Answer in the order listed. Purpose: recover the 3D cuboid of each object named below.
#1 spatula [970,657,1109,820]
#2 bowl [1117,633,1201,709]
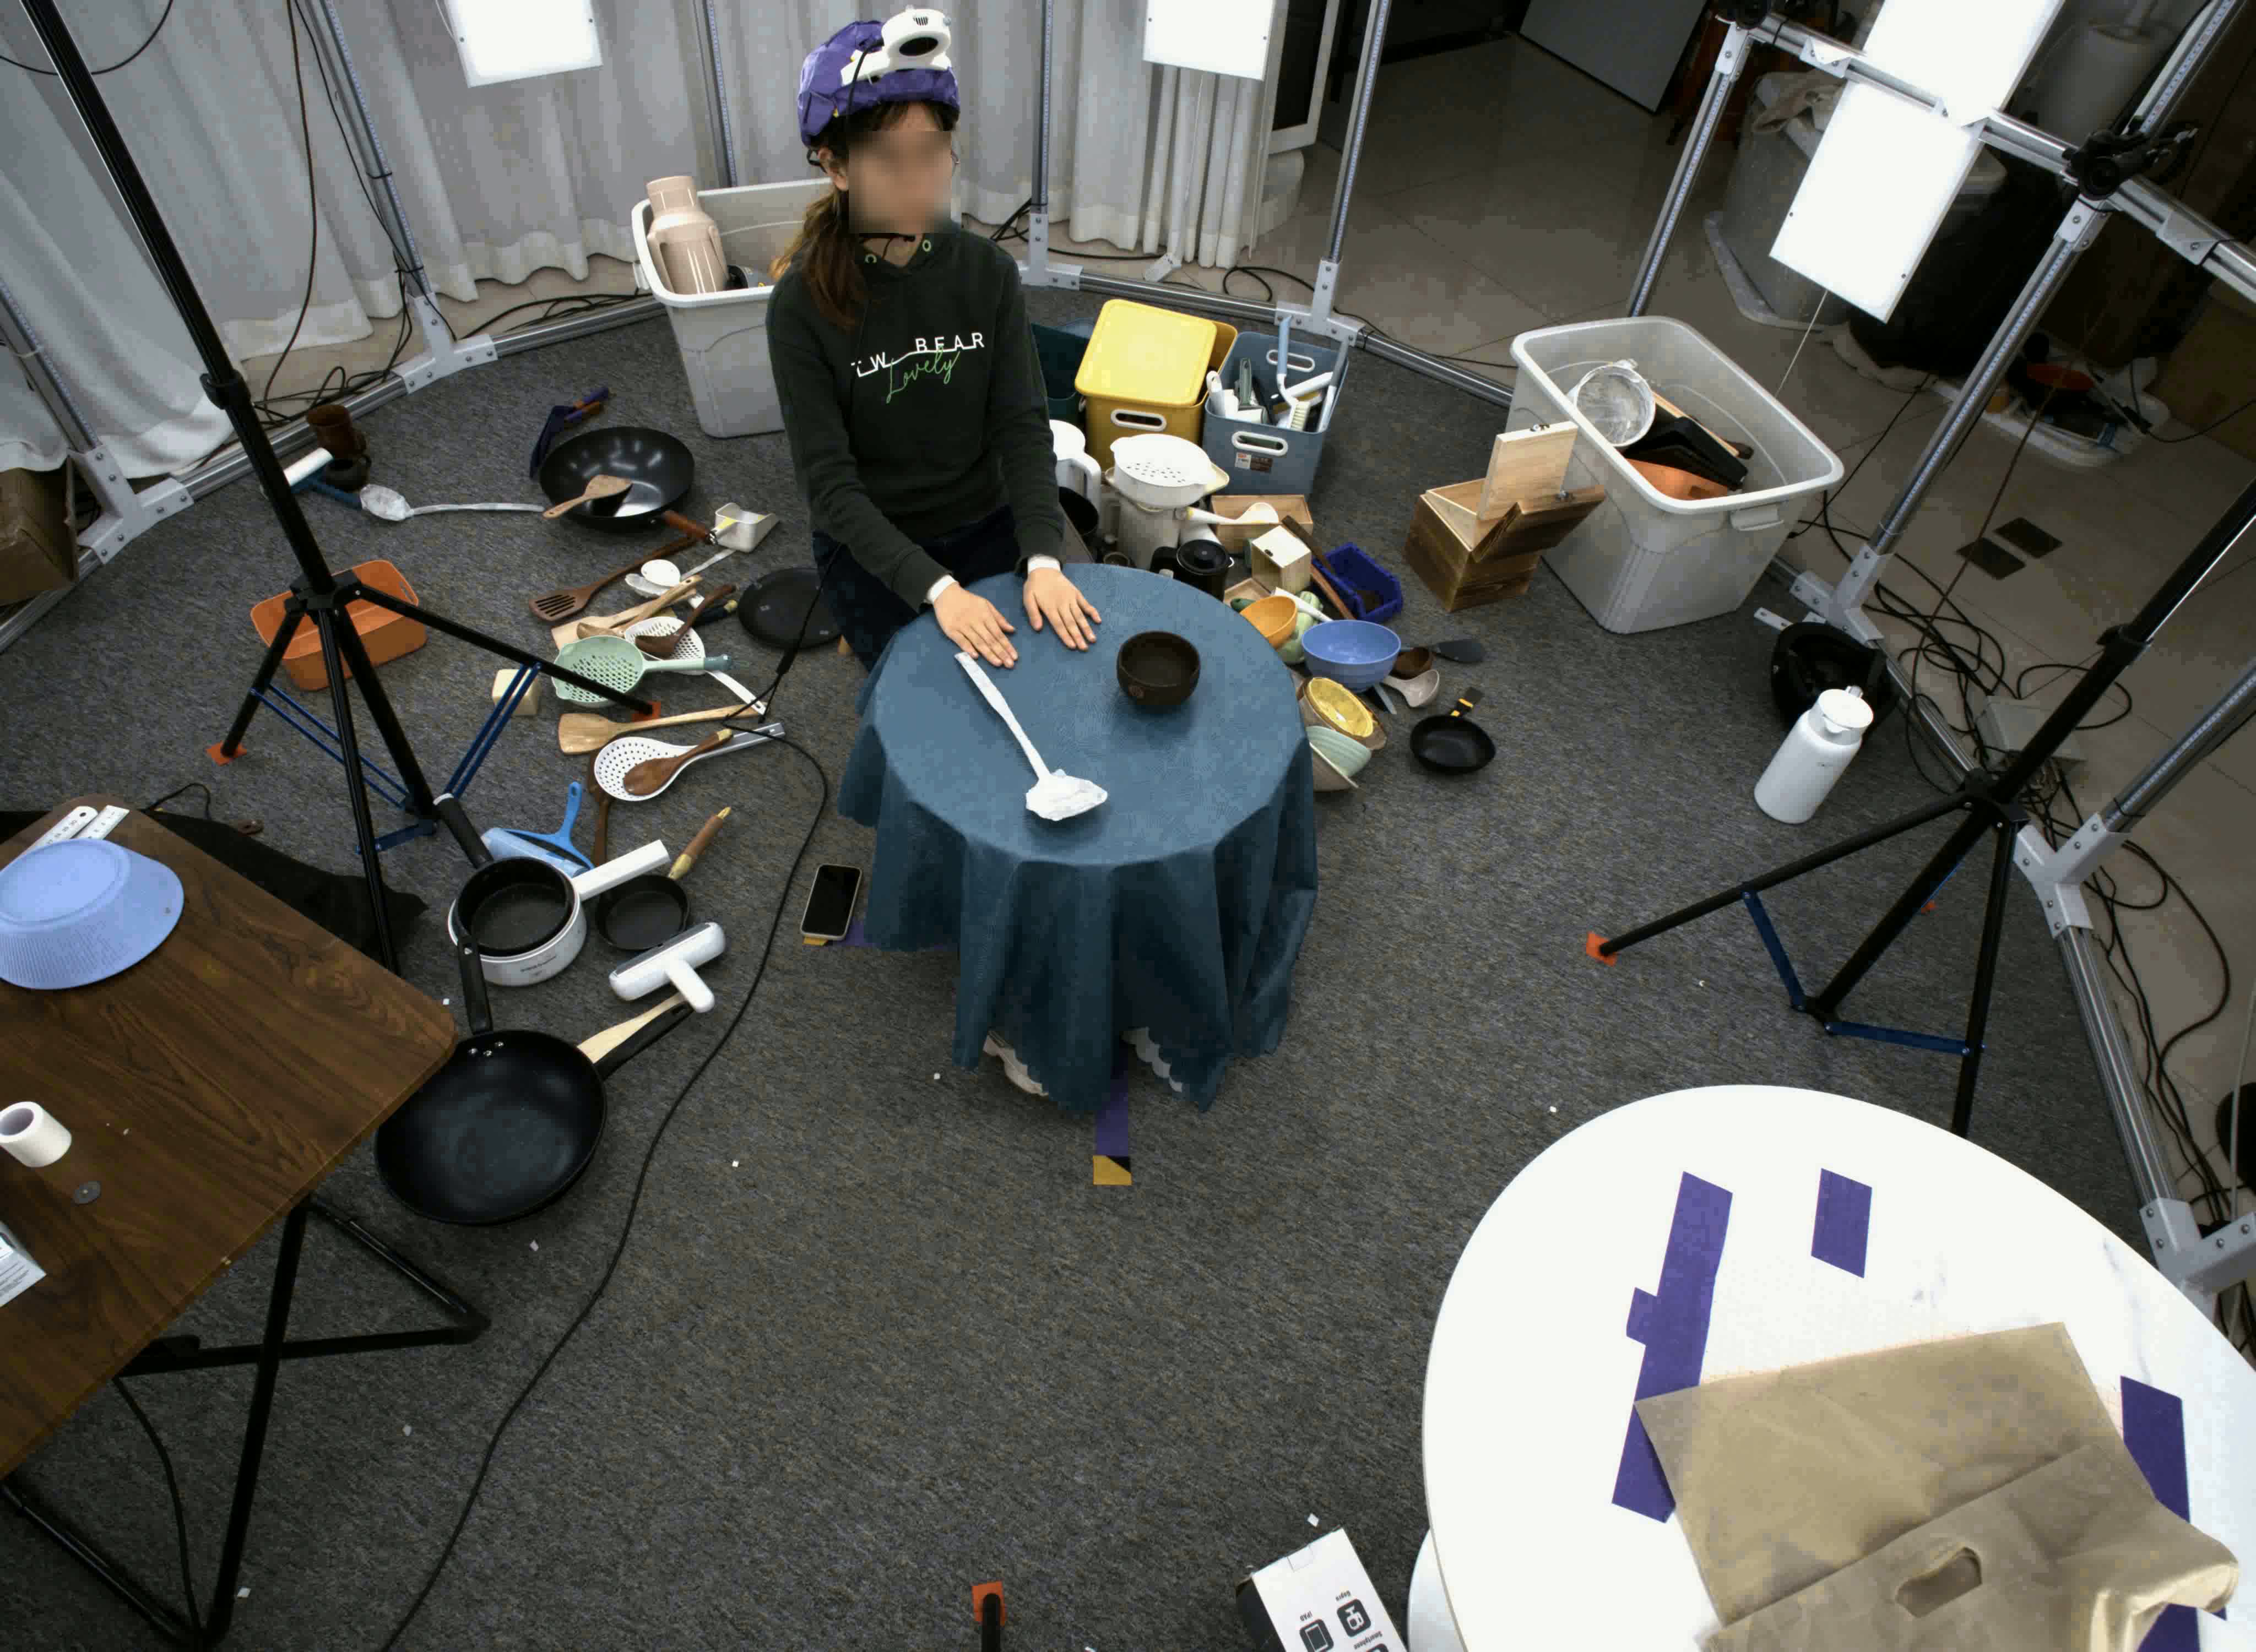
[{"bbox_3d":[-0.144,-0.131,1.763,0.099,0.043,0.373,-21,53,-18],"label":"spatula"},{"bbox_3d":[0.042,-0.213,1.826,0.118,0.068,0.121,3,47,-3],"label":"bowl"}]
